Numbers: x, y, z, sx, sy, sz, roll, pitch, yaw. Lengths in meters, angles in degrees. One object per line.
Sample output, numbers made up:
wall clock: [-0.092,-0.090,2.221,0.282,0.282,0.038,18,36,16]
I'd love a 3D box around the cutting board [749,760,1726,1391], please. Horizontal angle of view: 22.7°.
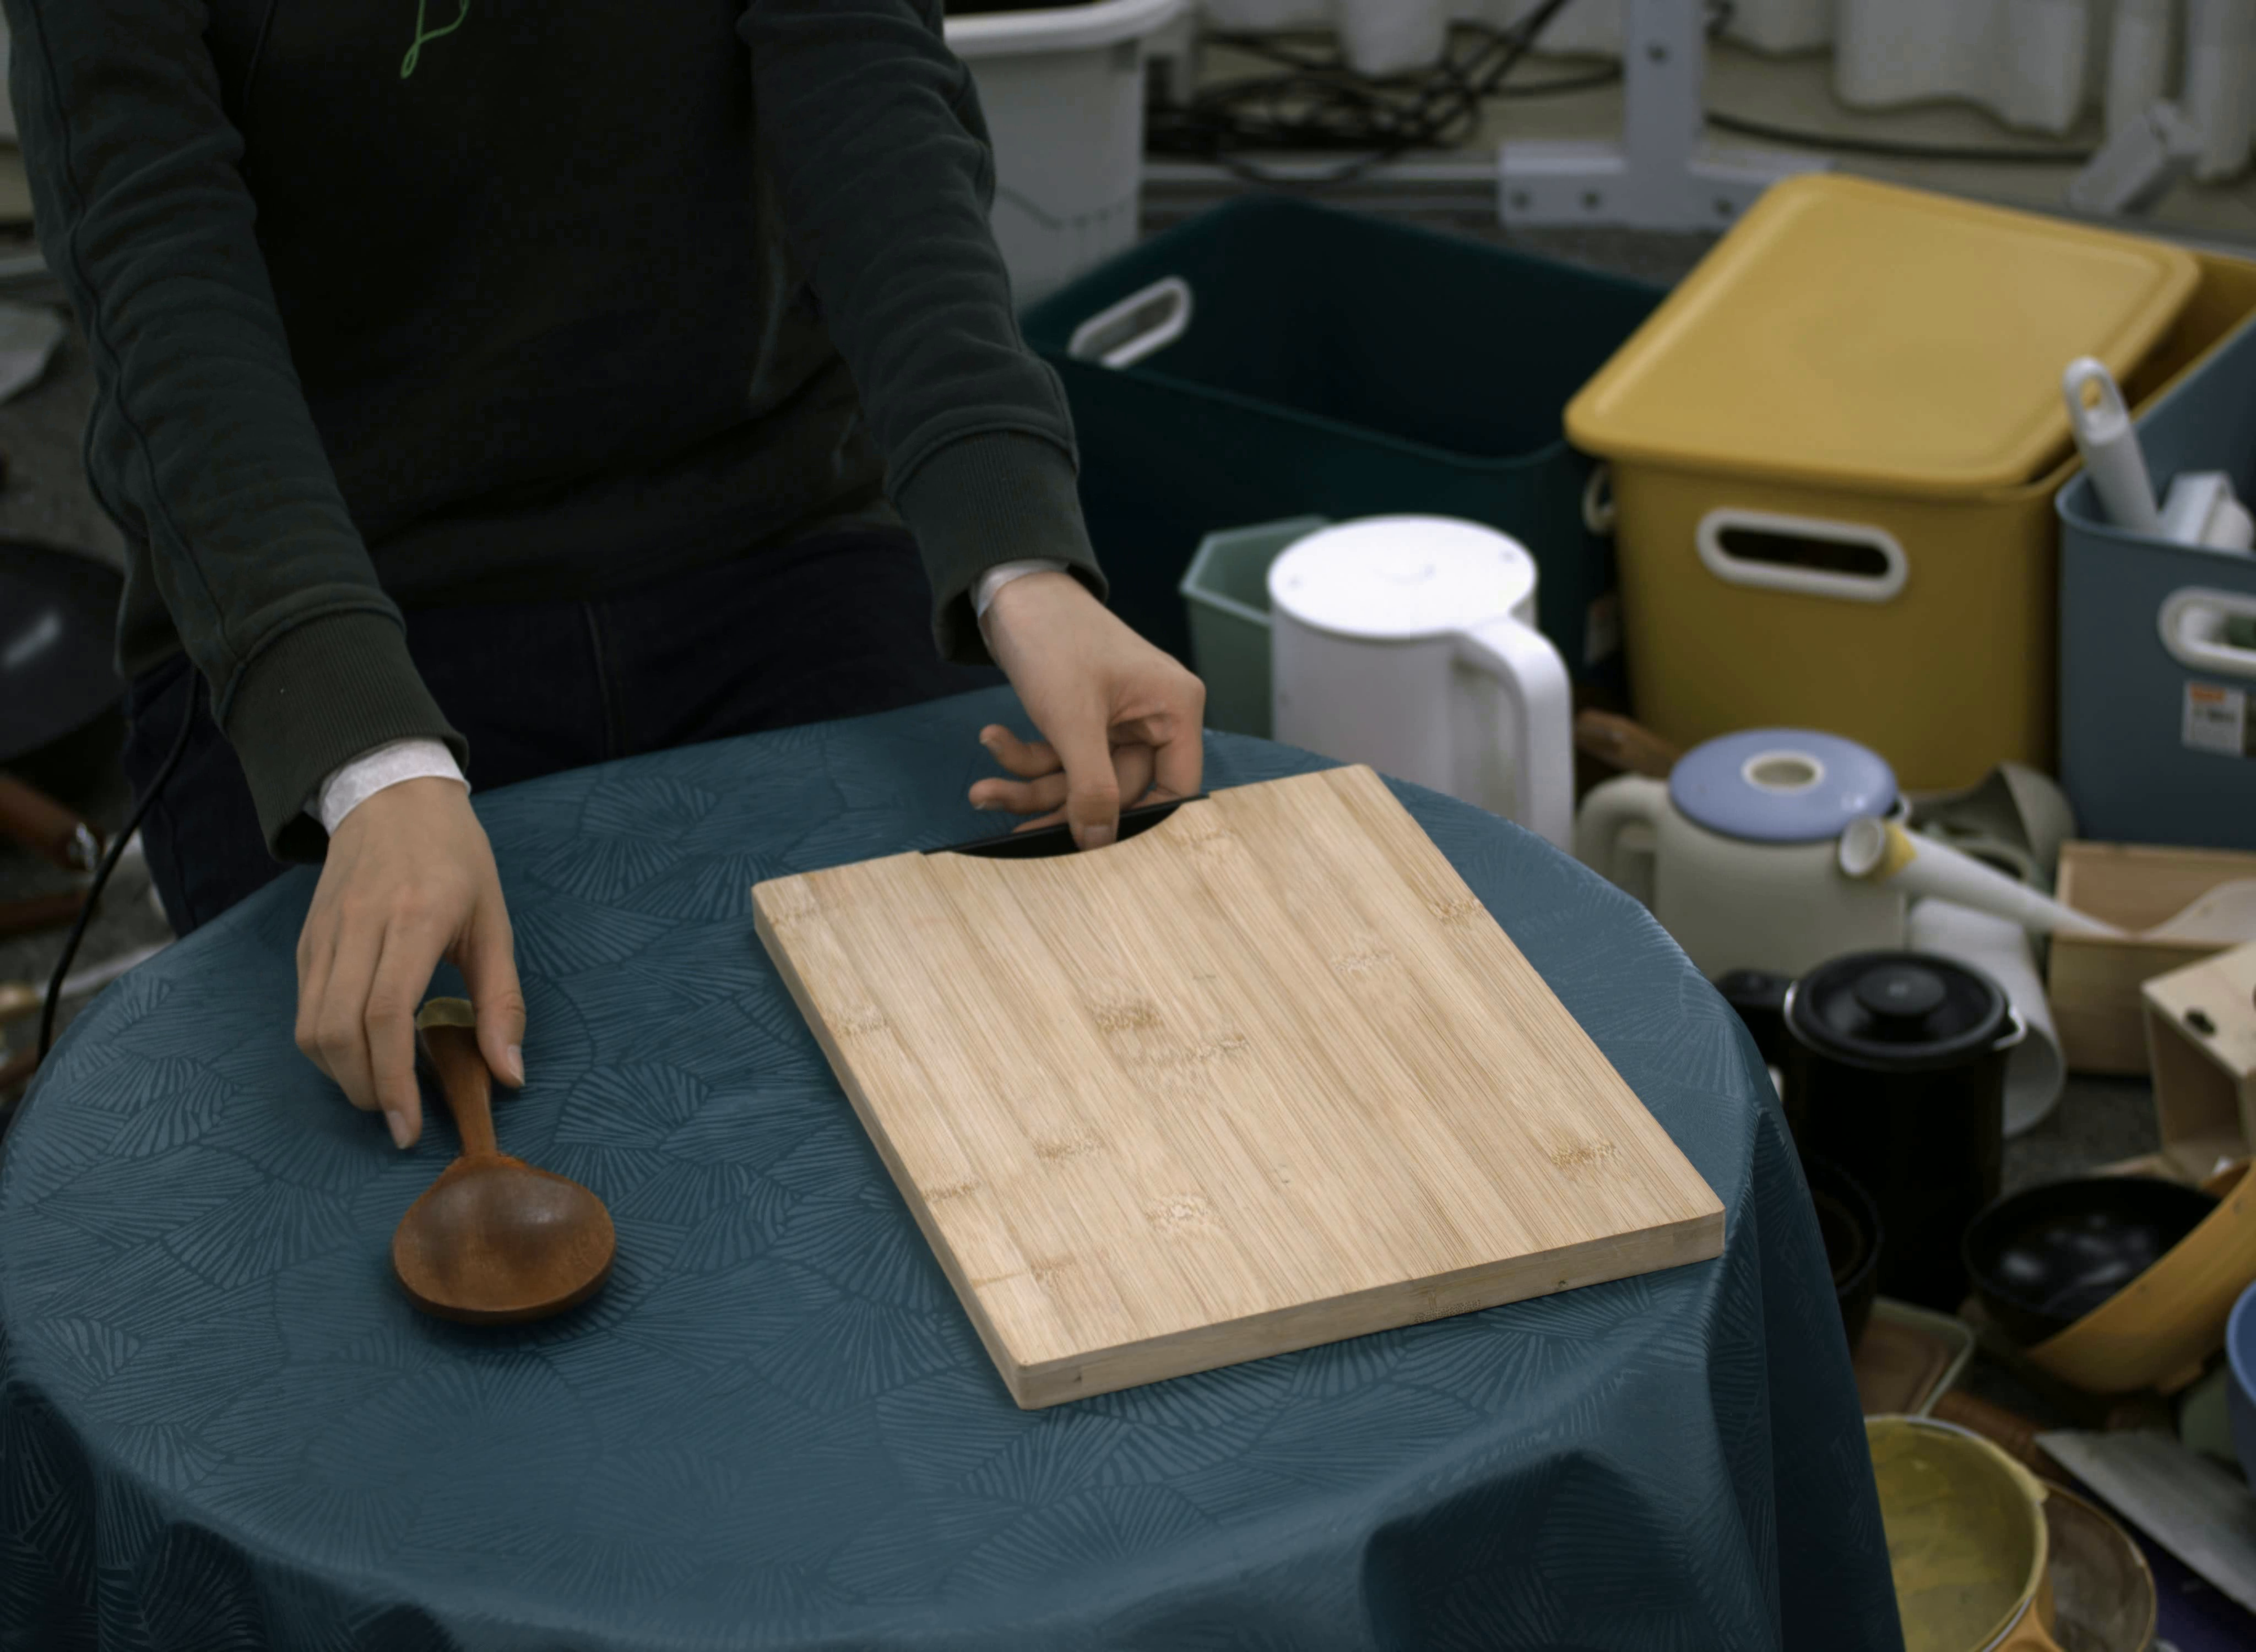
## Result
cutting board: [0.027,0.078,1.925,0.251,0.023,0.352,-11,28,-16]

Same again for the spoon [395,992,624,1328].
spoon: [-0.215,0.112,1.881,0.075,0.017,0.218,-10,29,-9]
